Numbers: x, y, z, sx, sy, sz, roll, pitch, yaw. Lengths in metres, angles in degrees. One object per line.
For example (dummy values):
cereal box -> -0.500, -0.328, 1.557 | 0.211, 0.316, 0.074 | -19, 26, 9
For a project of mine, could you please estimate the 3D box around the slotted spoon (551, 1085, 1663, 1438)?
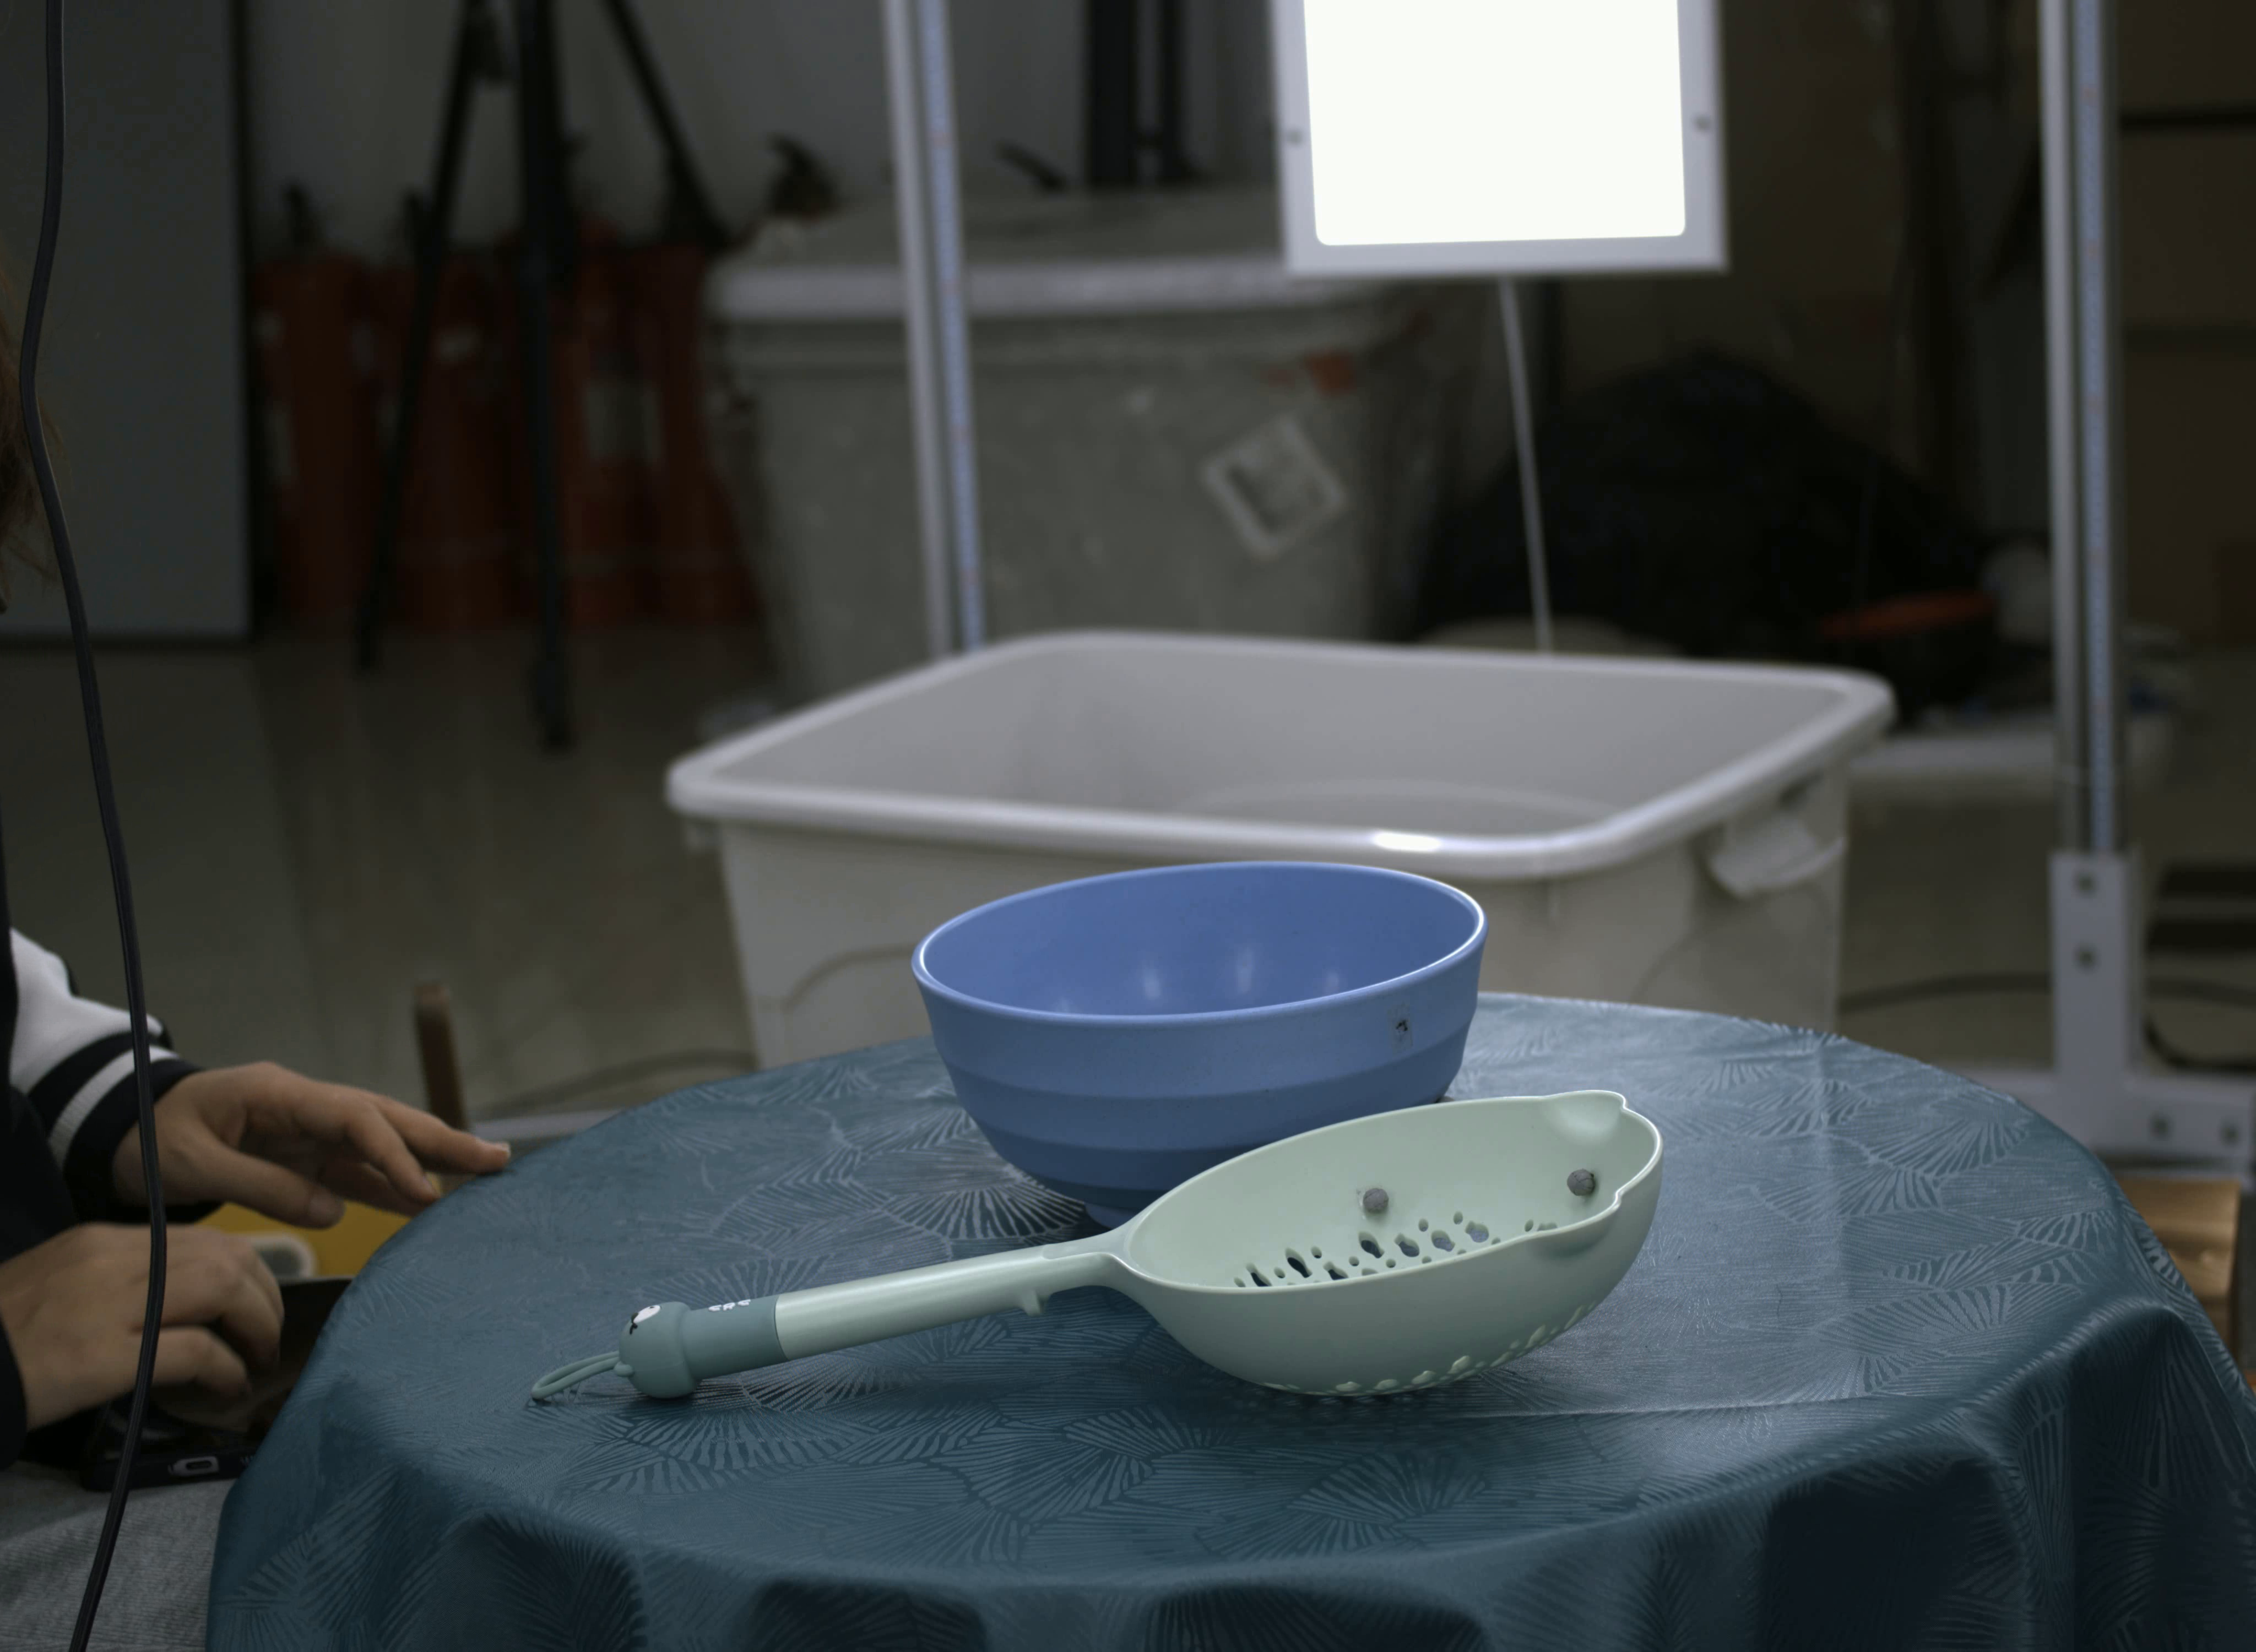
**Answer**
slotted spoon -> -0.010, 0.144, 1.710 | 0.361, 0.075, 0.168 | -4, 13, 10

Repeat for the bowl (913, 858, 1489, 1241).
bowl -> 0.028, 0.082, 1.871 | 0.196, 0.096, 0.196 | -5, 14, 0
